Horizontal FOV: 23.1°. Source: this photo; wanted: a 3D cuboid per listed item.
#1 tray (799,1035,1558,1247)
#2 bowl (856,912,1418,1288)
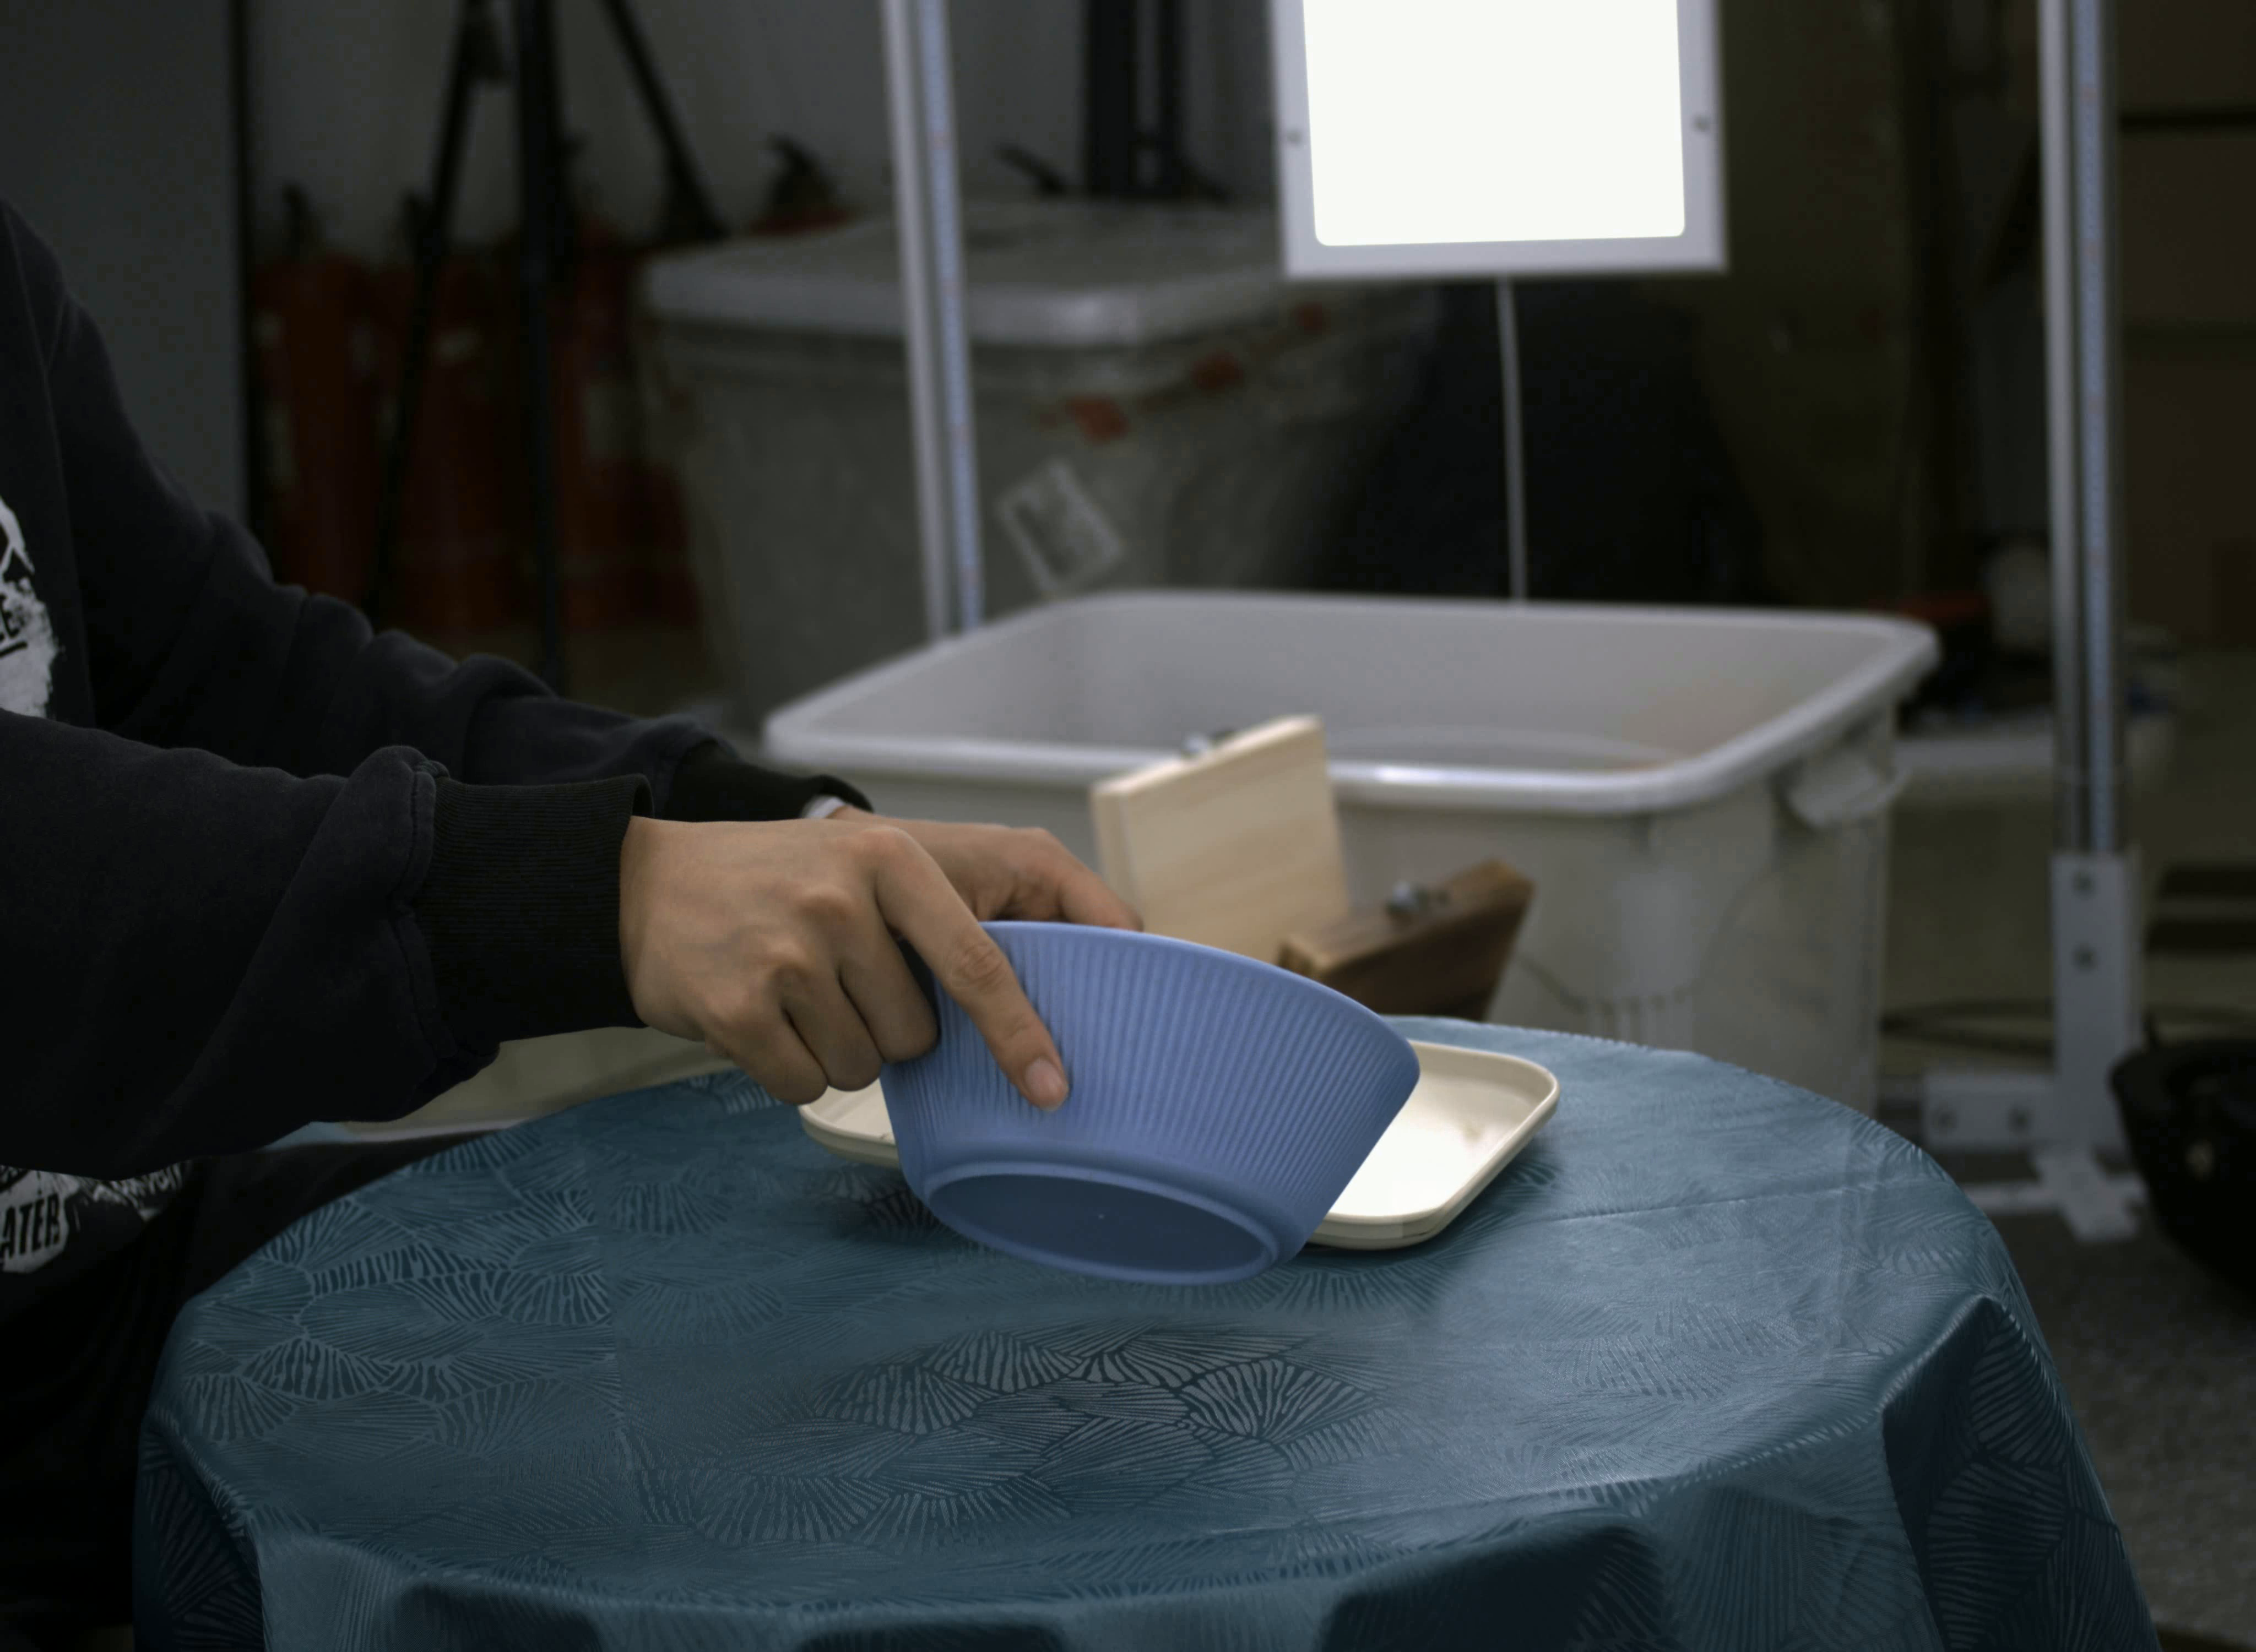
[{"bbox_3d":[0.019,0.100,1.908,0.243,0.017,0.168,8,18,22],"label":"tray"},{"bbox_3d":[-0.002,0.090,1.673,0.176,0.070,0.177,11,-22,3],"label":"bowl"}]
